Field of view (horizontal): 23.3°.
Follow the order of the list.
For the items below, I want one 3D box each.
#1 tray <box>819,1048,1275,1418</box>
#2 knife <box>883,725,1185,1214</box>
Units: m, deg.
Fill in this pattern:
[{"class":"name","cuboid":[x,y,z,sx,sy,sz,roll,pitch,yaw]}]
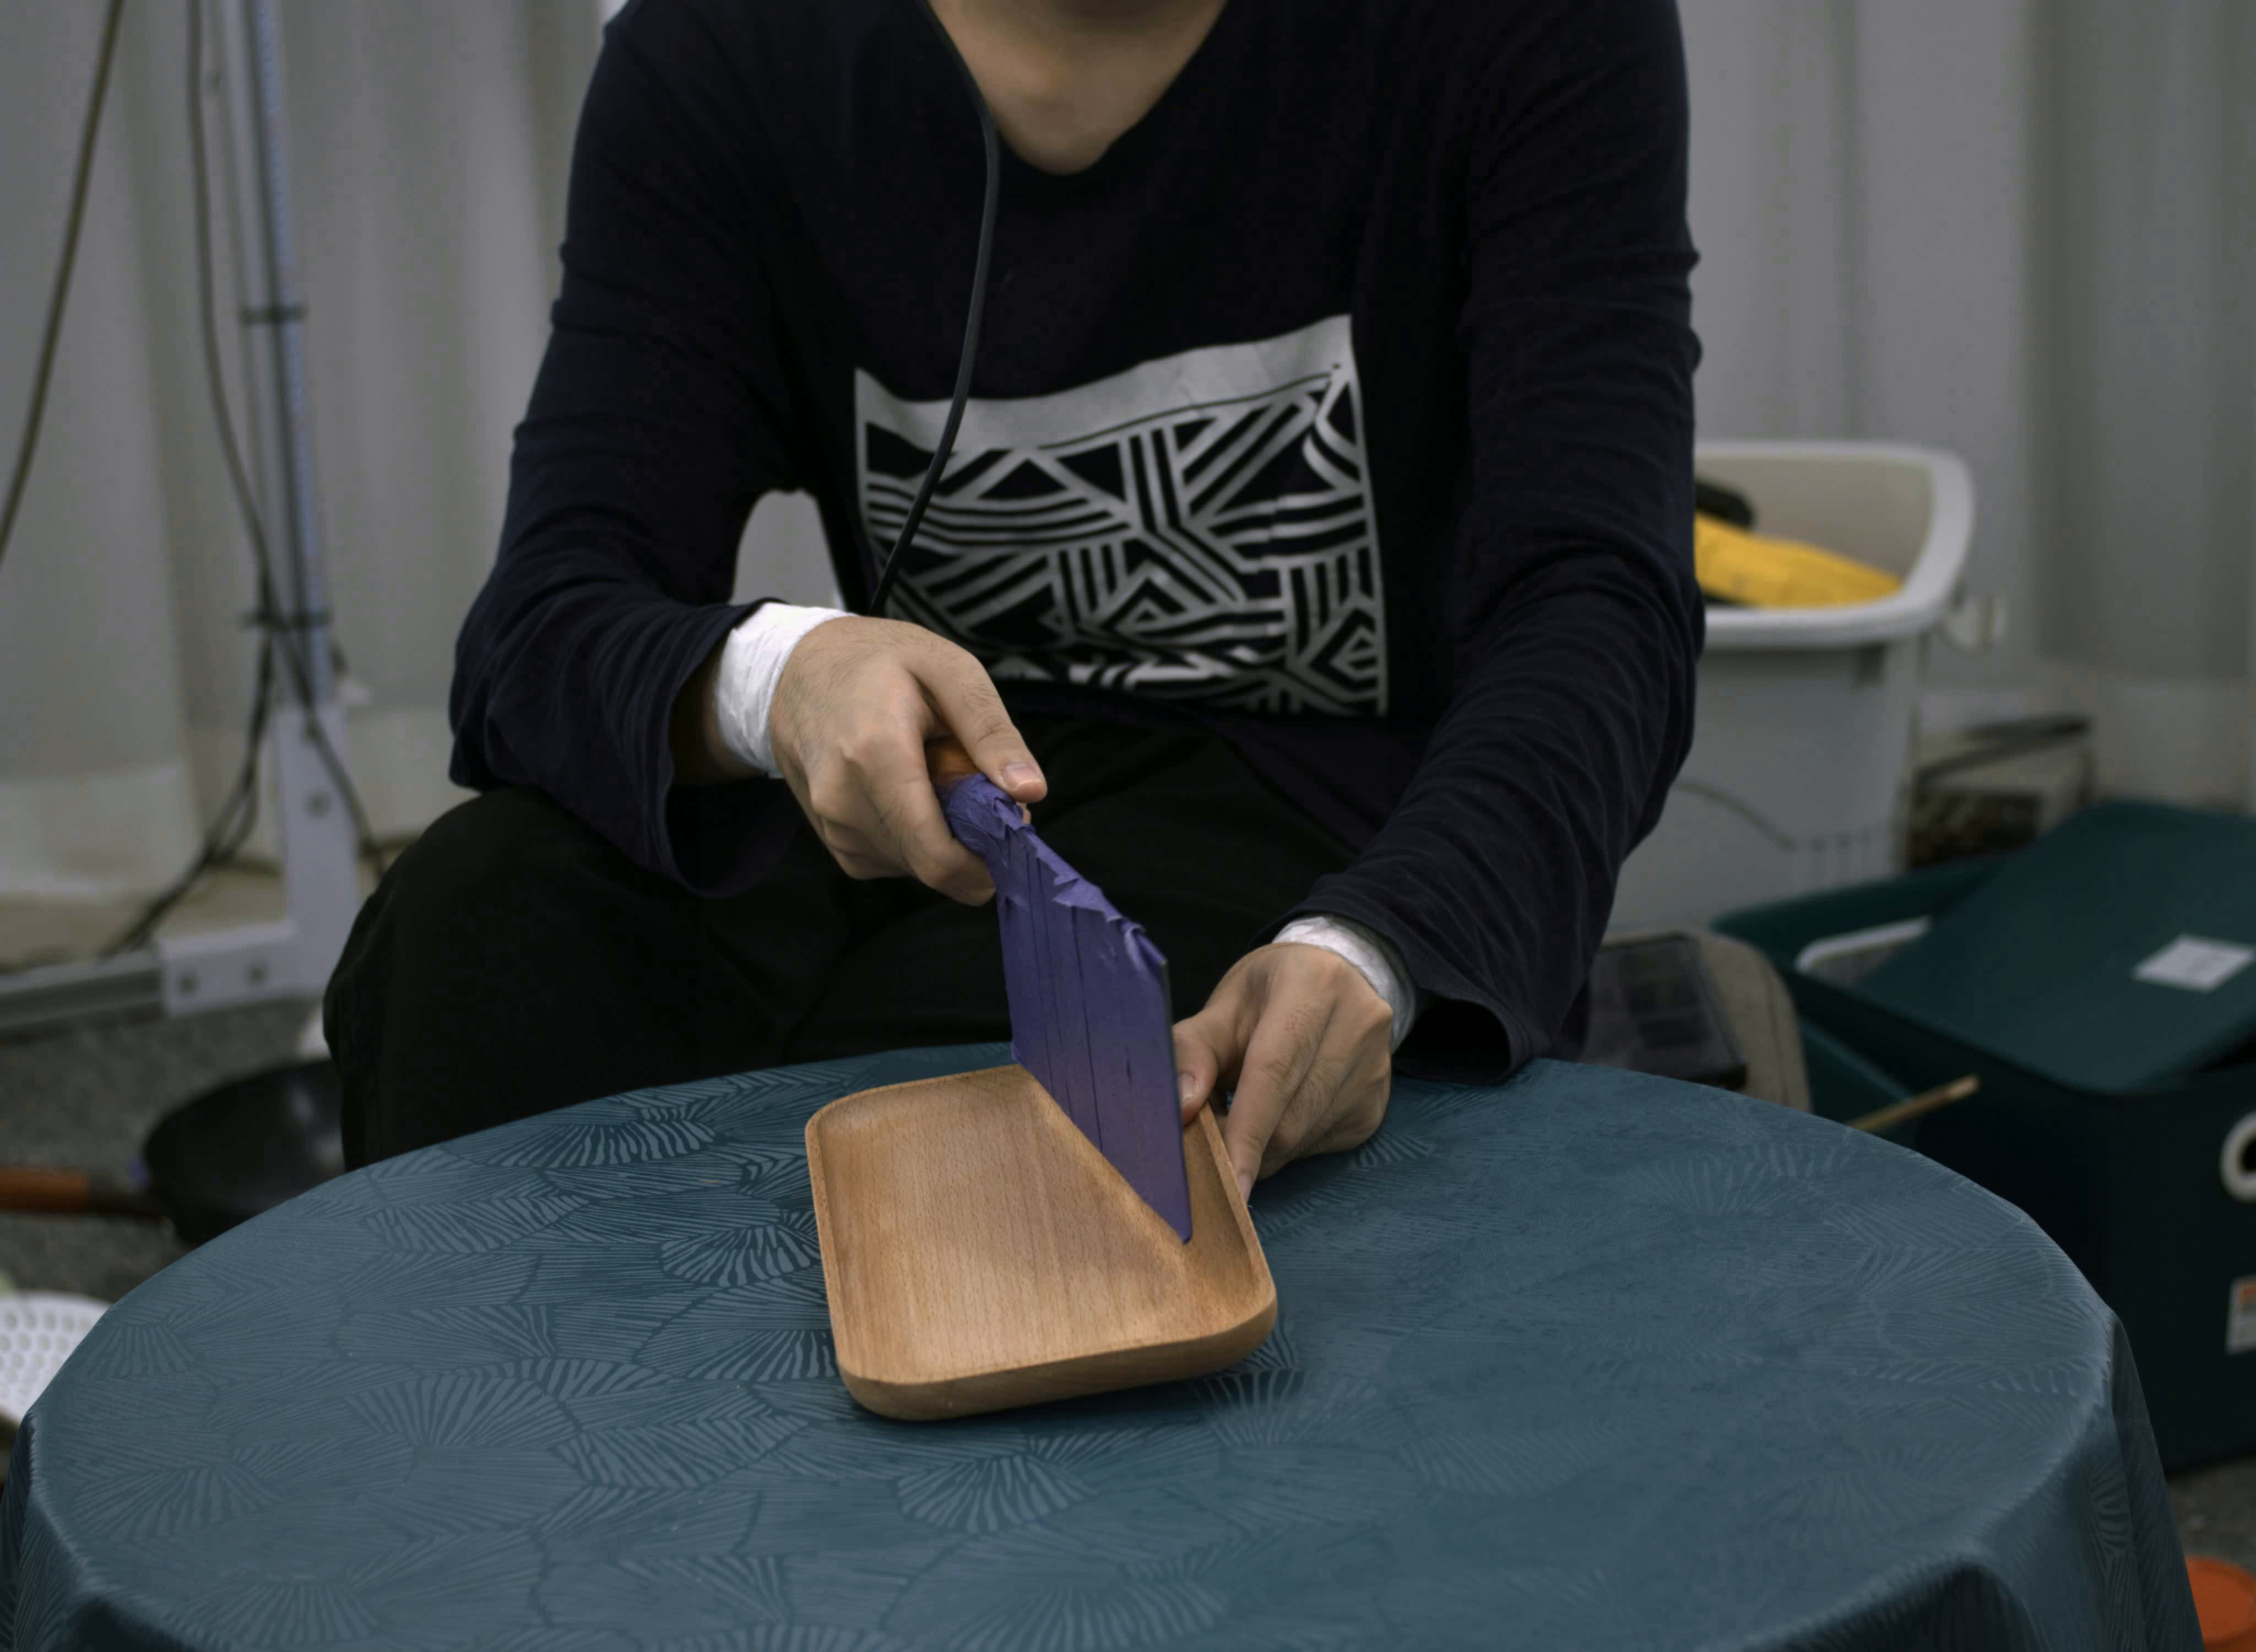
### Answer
[{"class":"tray","cuboid":[-0.028,0.119,1.642,0.130,0.023,0.252,-6,16,-1]},{"class":"knife","cuboid":[-0.031,0.043,1.709,0.032,0.103,0.317,-7,14,-11]}]
